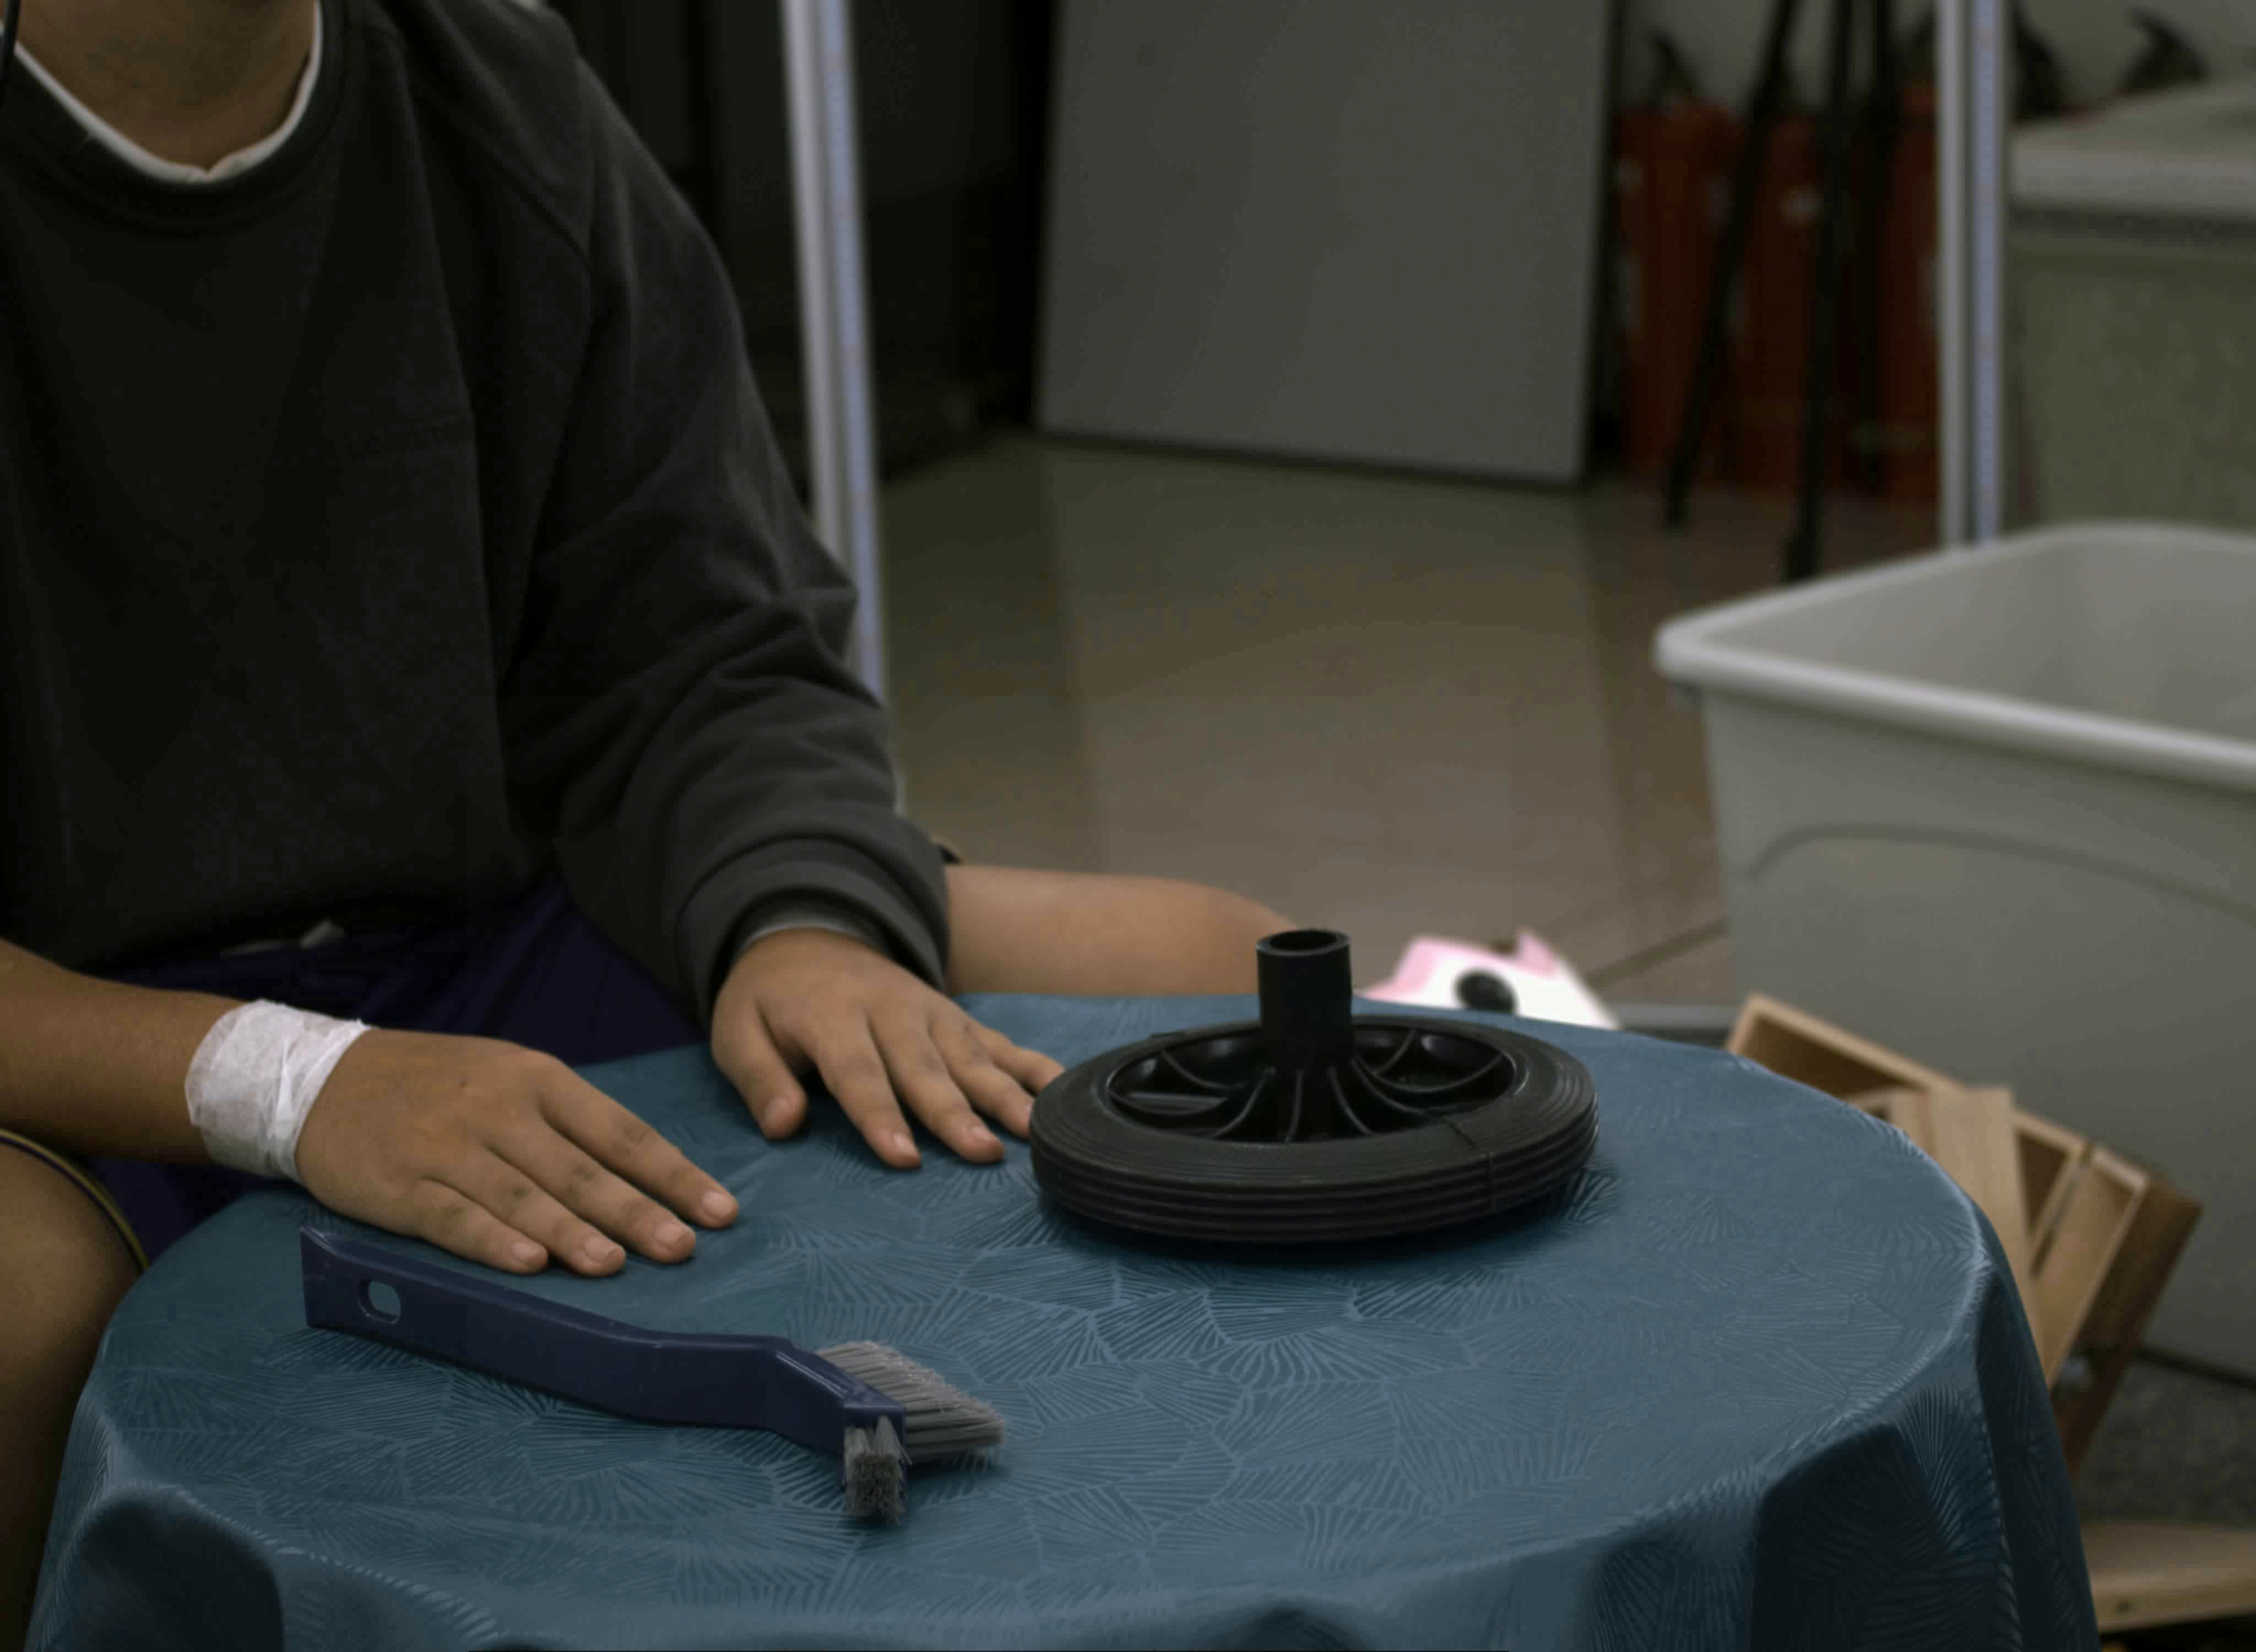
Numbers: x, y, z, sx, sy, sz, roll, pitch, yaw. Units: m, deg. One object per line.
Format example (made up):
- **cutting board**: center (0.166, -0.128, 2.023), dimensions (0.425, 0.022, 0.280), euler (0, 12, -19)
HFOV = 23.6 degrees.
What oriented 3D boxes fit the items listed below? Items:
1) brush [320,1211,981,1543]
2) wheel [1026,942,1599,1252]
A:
- **brush**: center (-0.158, 0.159, 1.592), dimensions (0.275, 0.034, 0.094), euler (8, 18, 36)
- **wheel**: center (0.059, 0.080, 1.758), dimensions (0.187, 0.080, 0.187), euler (-5, 14, 2)
